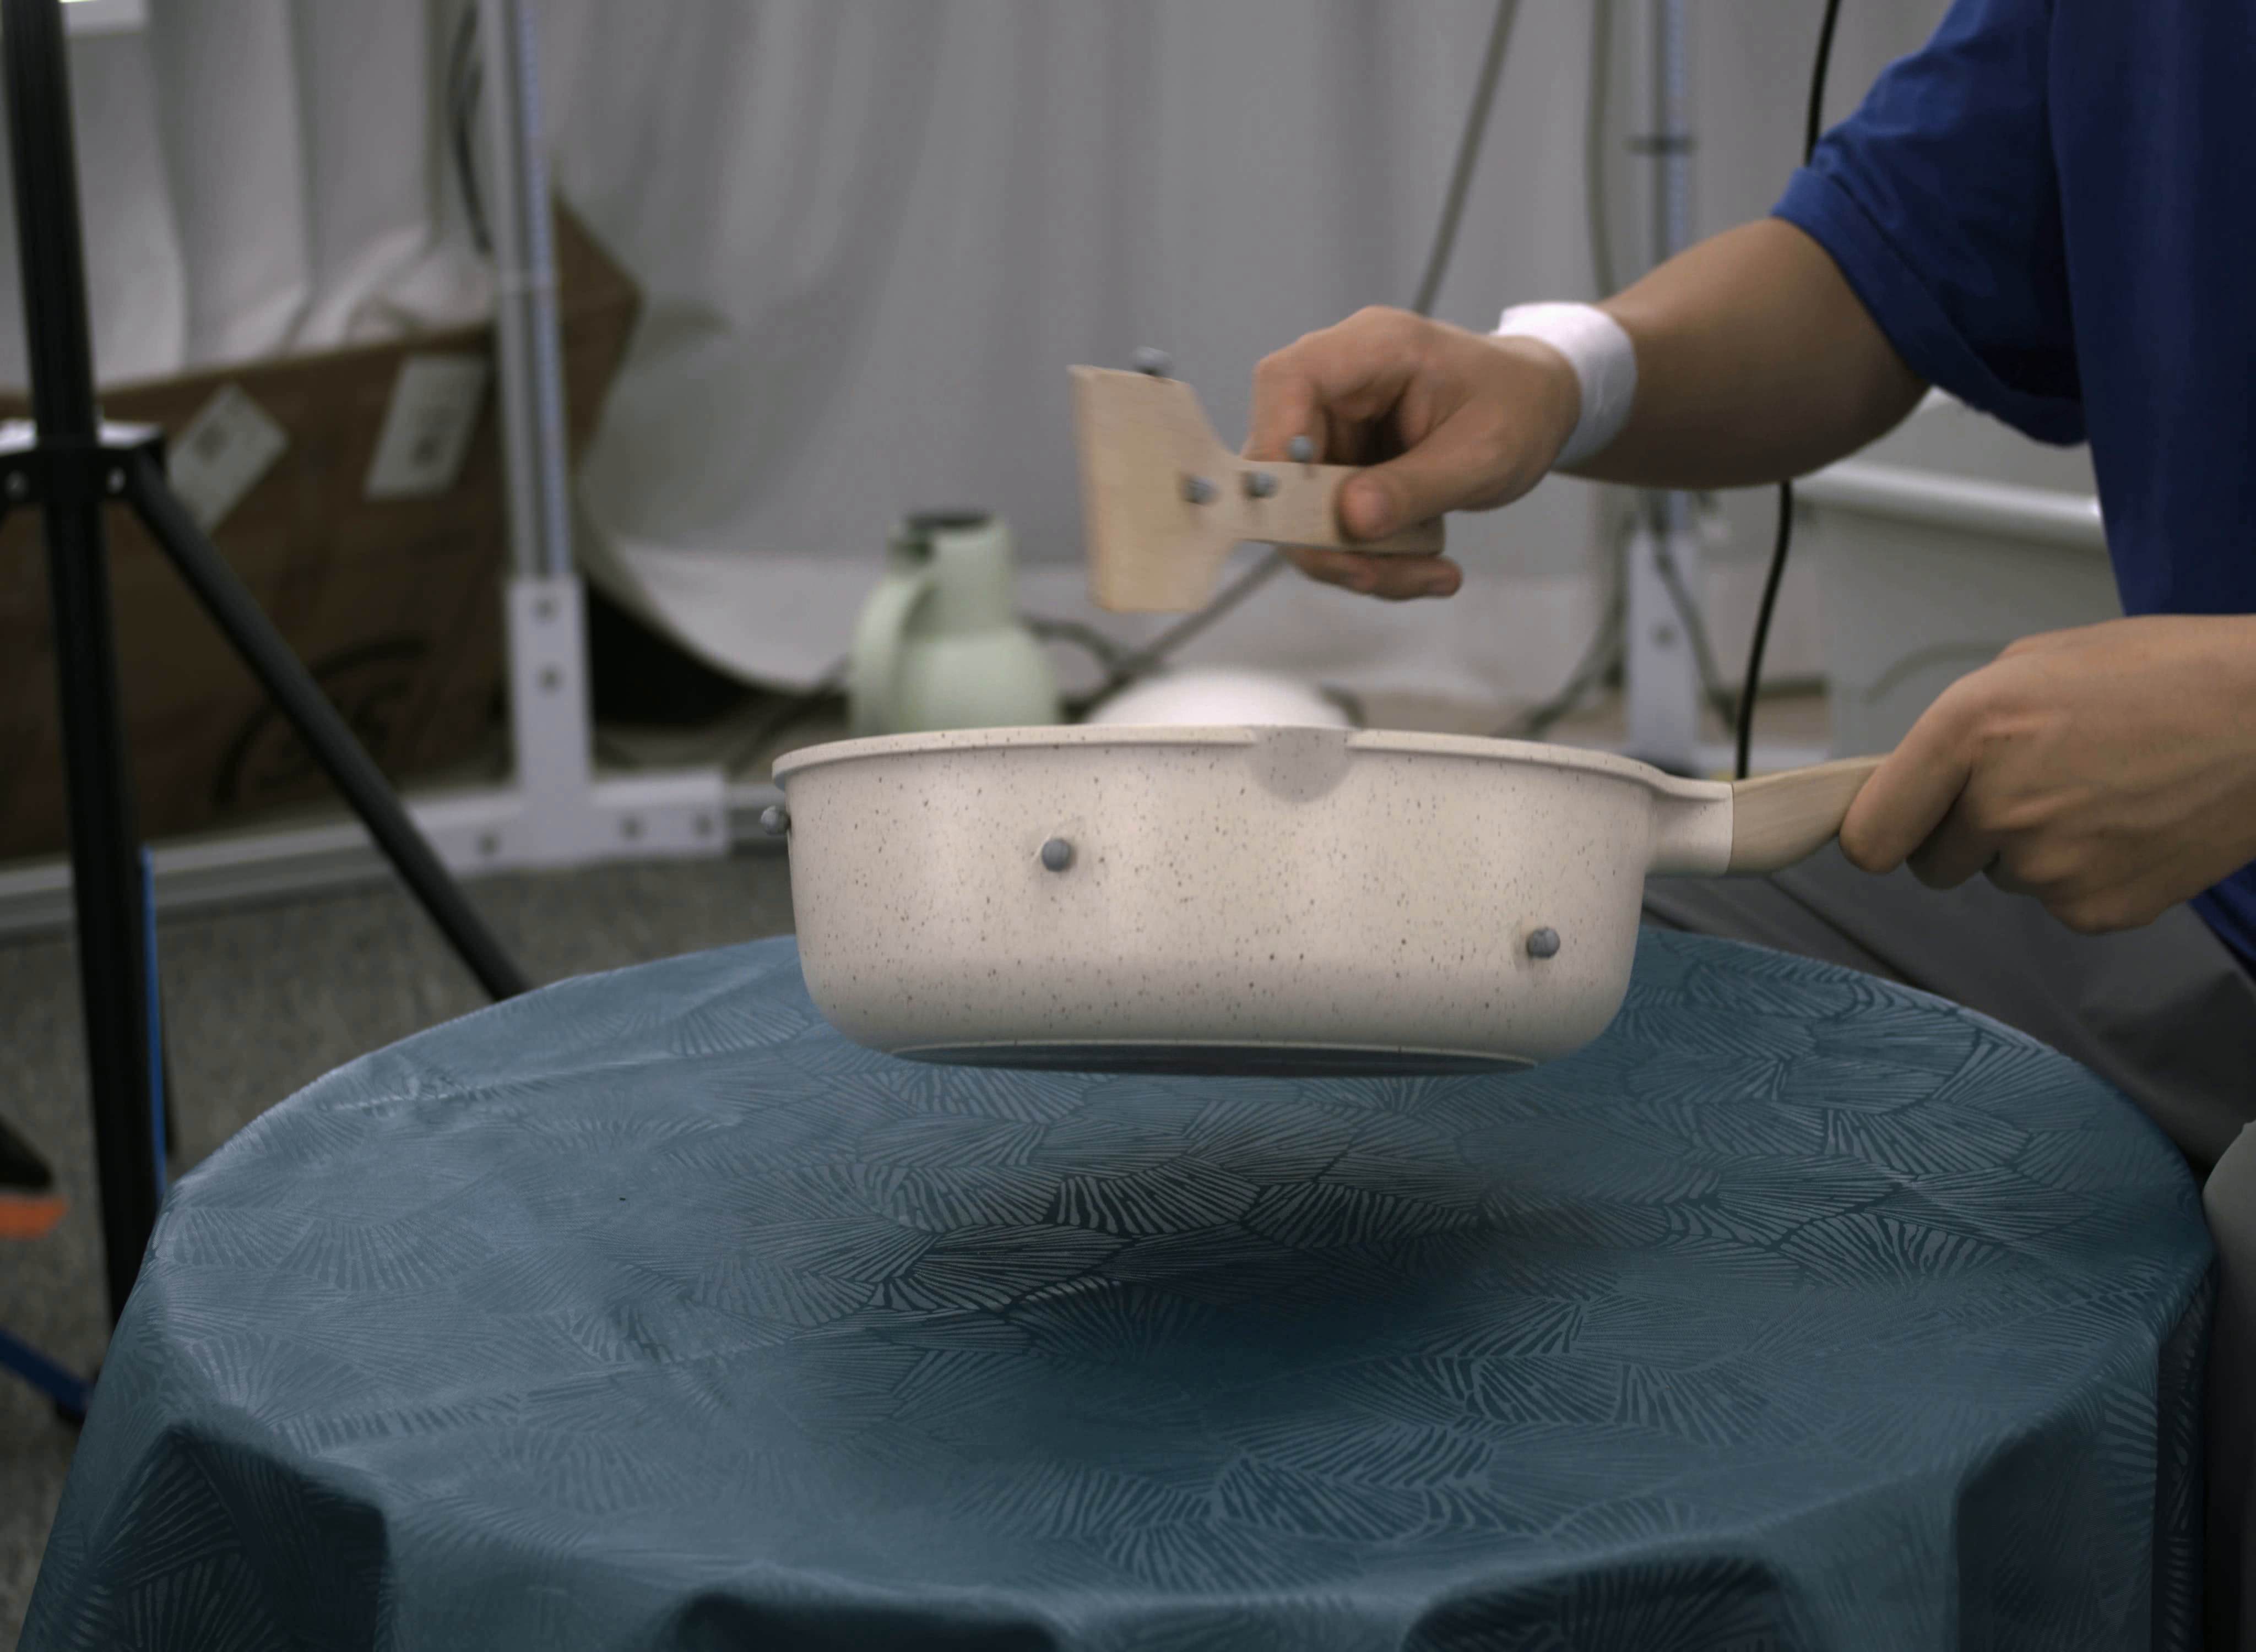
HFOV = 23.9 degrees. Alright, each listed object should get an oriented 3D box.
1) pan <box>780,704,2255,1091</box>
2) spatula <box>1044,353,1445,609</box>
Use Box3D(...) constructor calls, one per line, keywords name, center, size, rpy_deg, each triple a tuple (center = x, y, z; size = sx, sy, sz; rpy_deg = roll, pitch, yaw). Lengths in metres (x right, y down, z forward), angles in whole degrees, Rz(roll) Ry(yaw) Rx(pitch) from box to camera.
Box3D(name="pan", center=(0.117, 0.021, 1.495), size=(0.430, 0.102, 0.264), rpy_deg=(3, -7, -9))
Box3D(name="spatula", center=(0.040, -0.100, 1.633), size=(0.011, 0.073, 0.287), rpy_deg=(-7, -3, 26))
